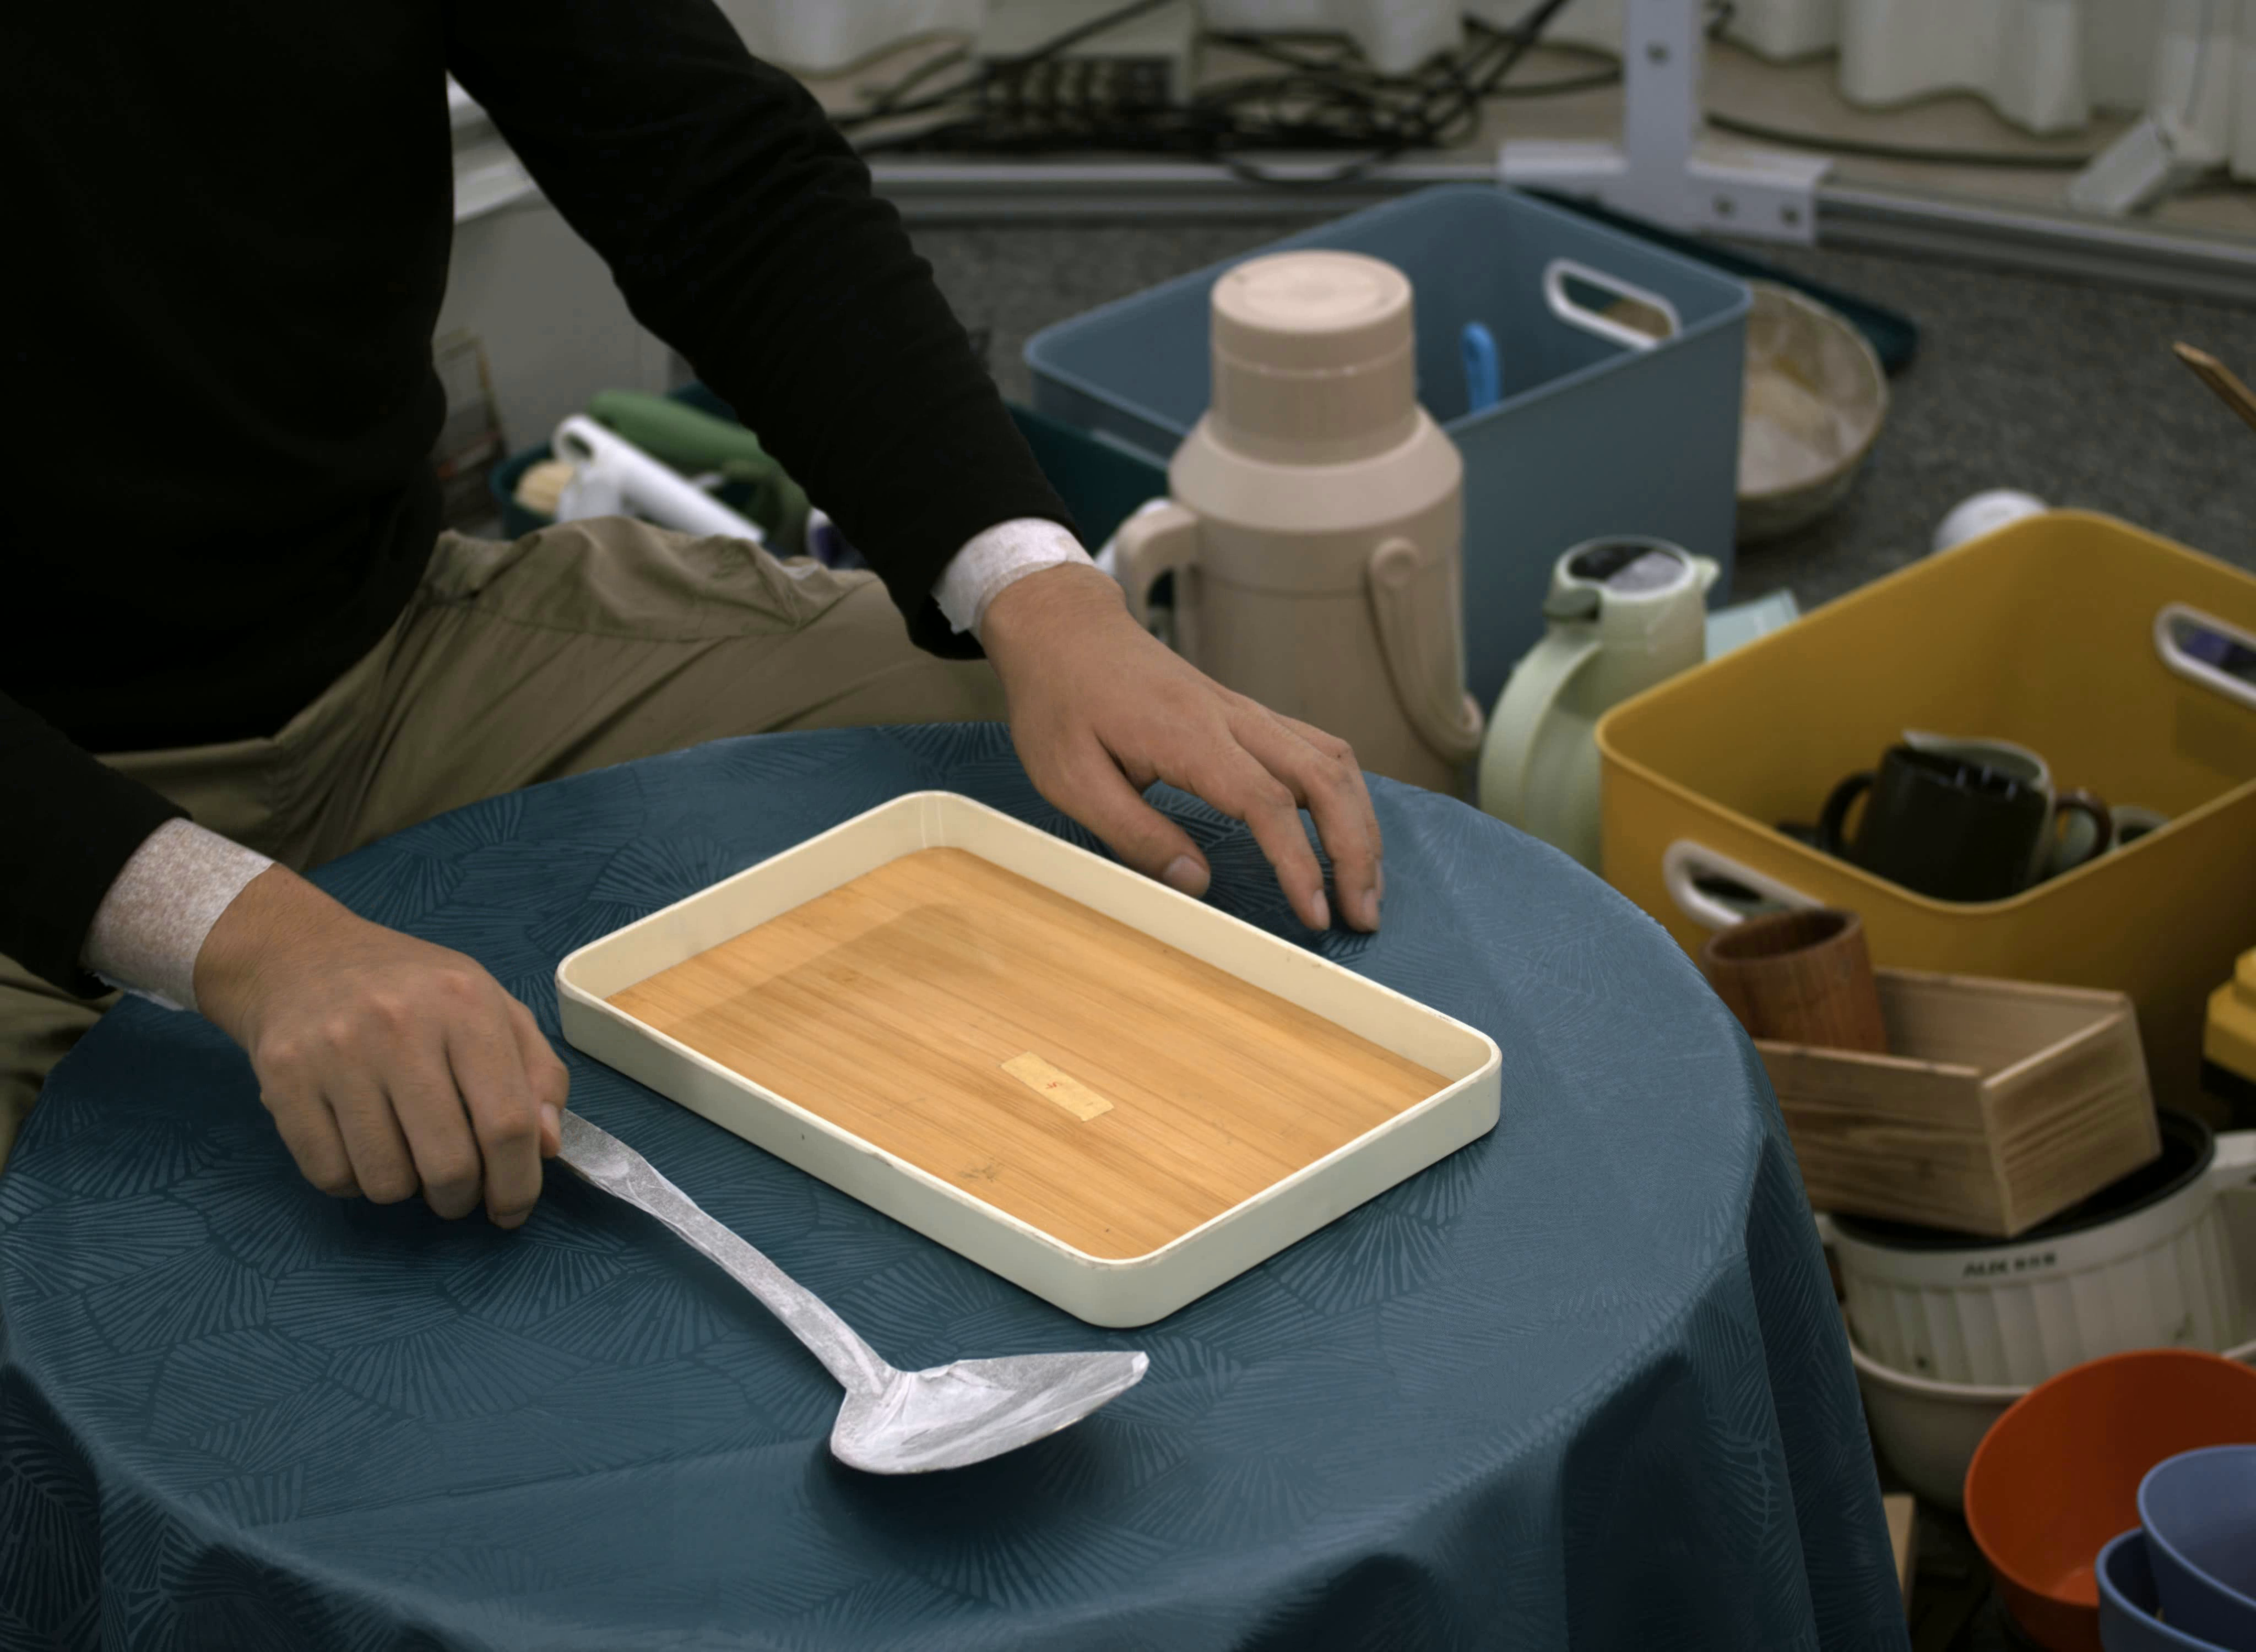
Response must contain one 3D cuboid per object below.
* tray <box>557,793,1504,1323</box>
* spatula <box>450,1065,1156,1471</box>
[{"bbox_3d":[-0.036,0.074,1.927,0.194,0.027,0.300,-25,35,-36],"label":"tray"},{"bbox_3d":[-0.128,0.133,1.810,0.099,0.044,0.365,-22,33,-31],"label":"spatula"}]
